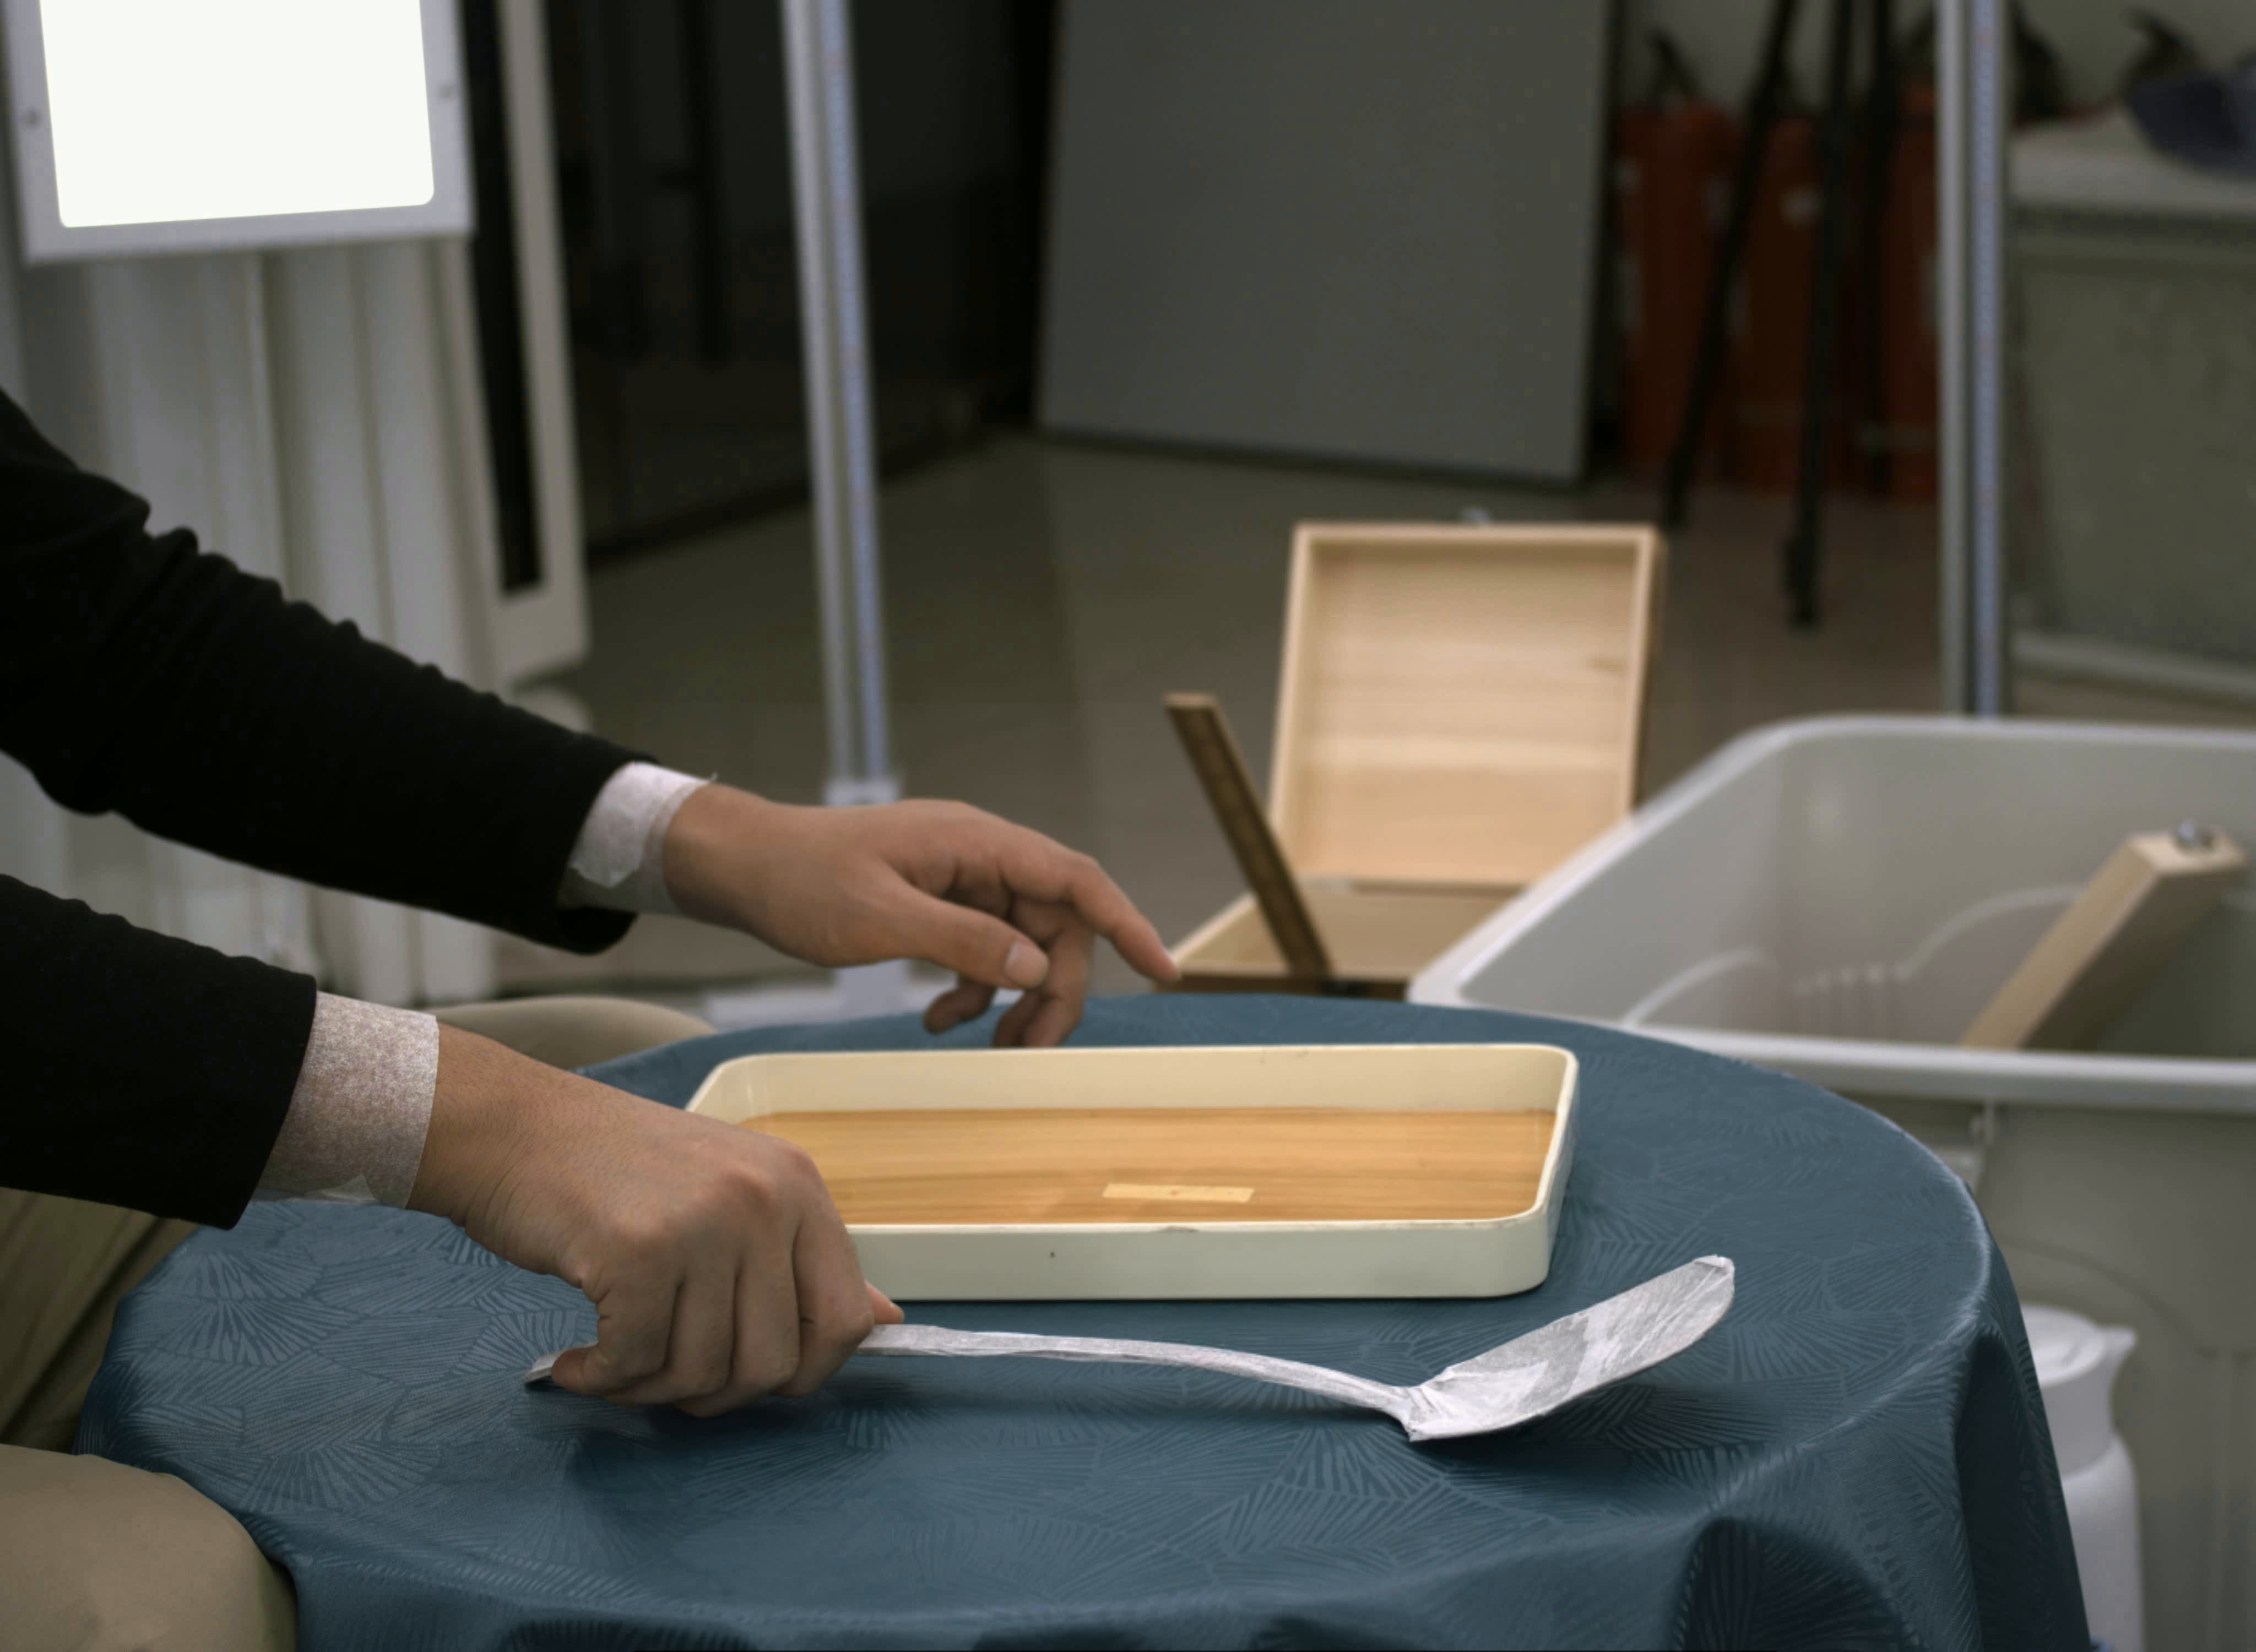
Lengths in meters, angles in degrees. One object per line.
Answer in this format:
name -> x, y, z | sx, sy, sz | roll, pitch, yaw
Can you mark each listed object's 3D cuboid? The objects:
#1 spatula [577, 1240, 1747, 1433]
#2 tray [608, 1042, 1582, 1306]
spatula -> 0.001, 0.149, 1.573 | 0.364, 0.045, 0.098 | 0, 15, 18
tray -> -0.005, 0.112, 1.751 | 0.298, 0.028, 0.191 | -2, 14, 11
